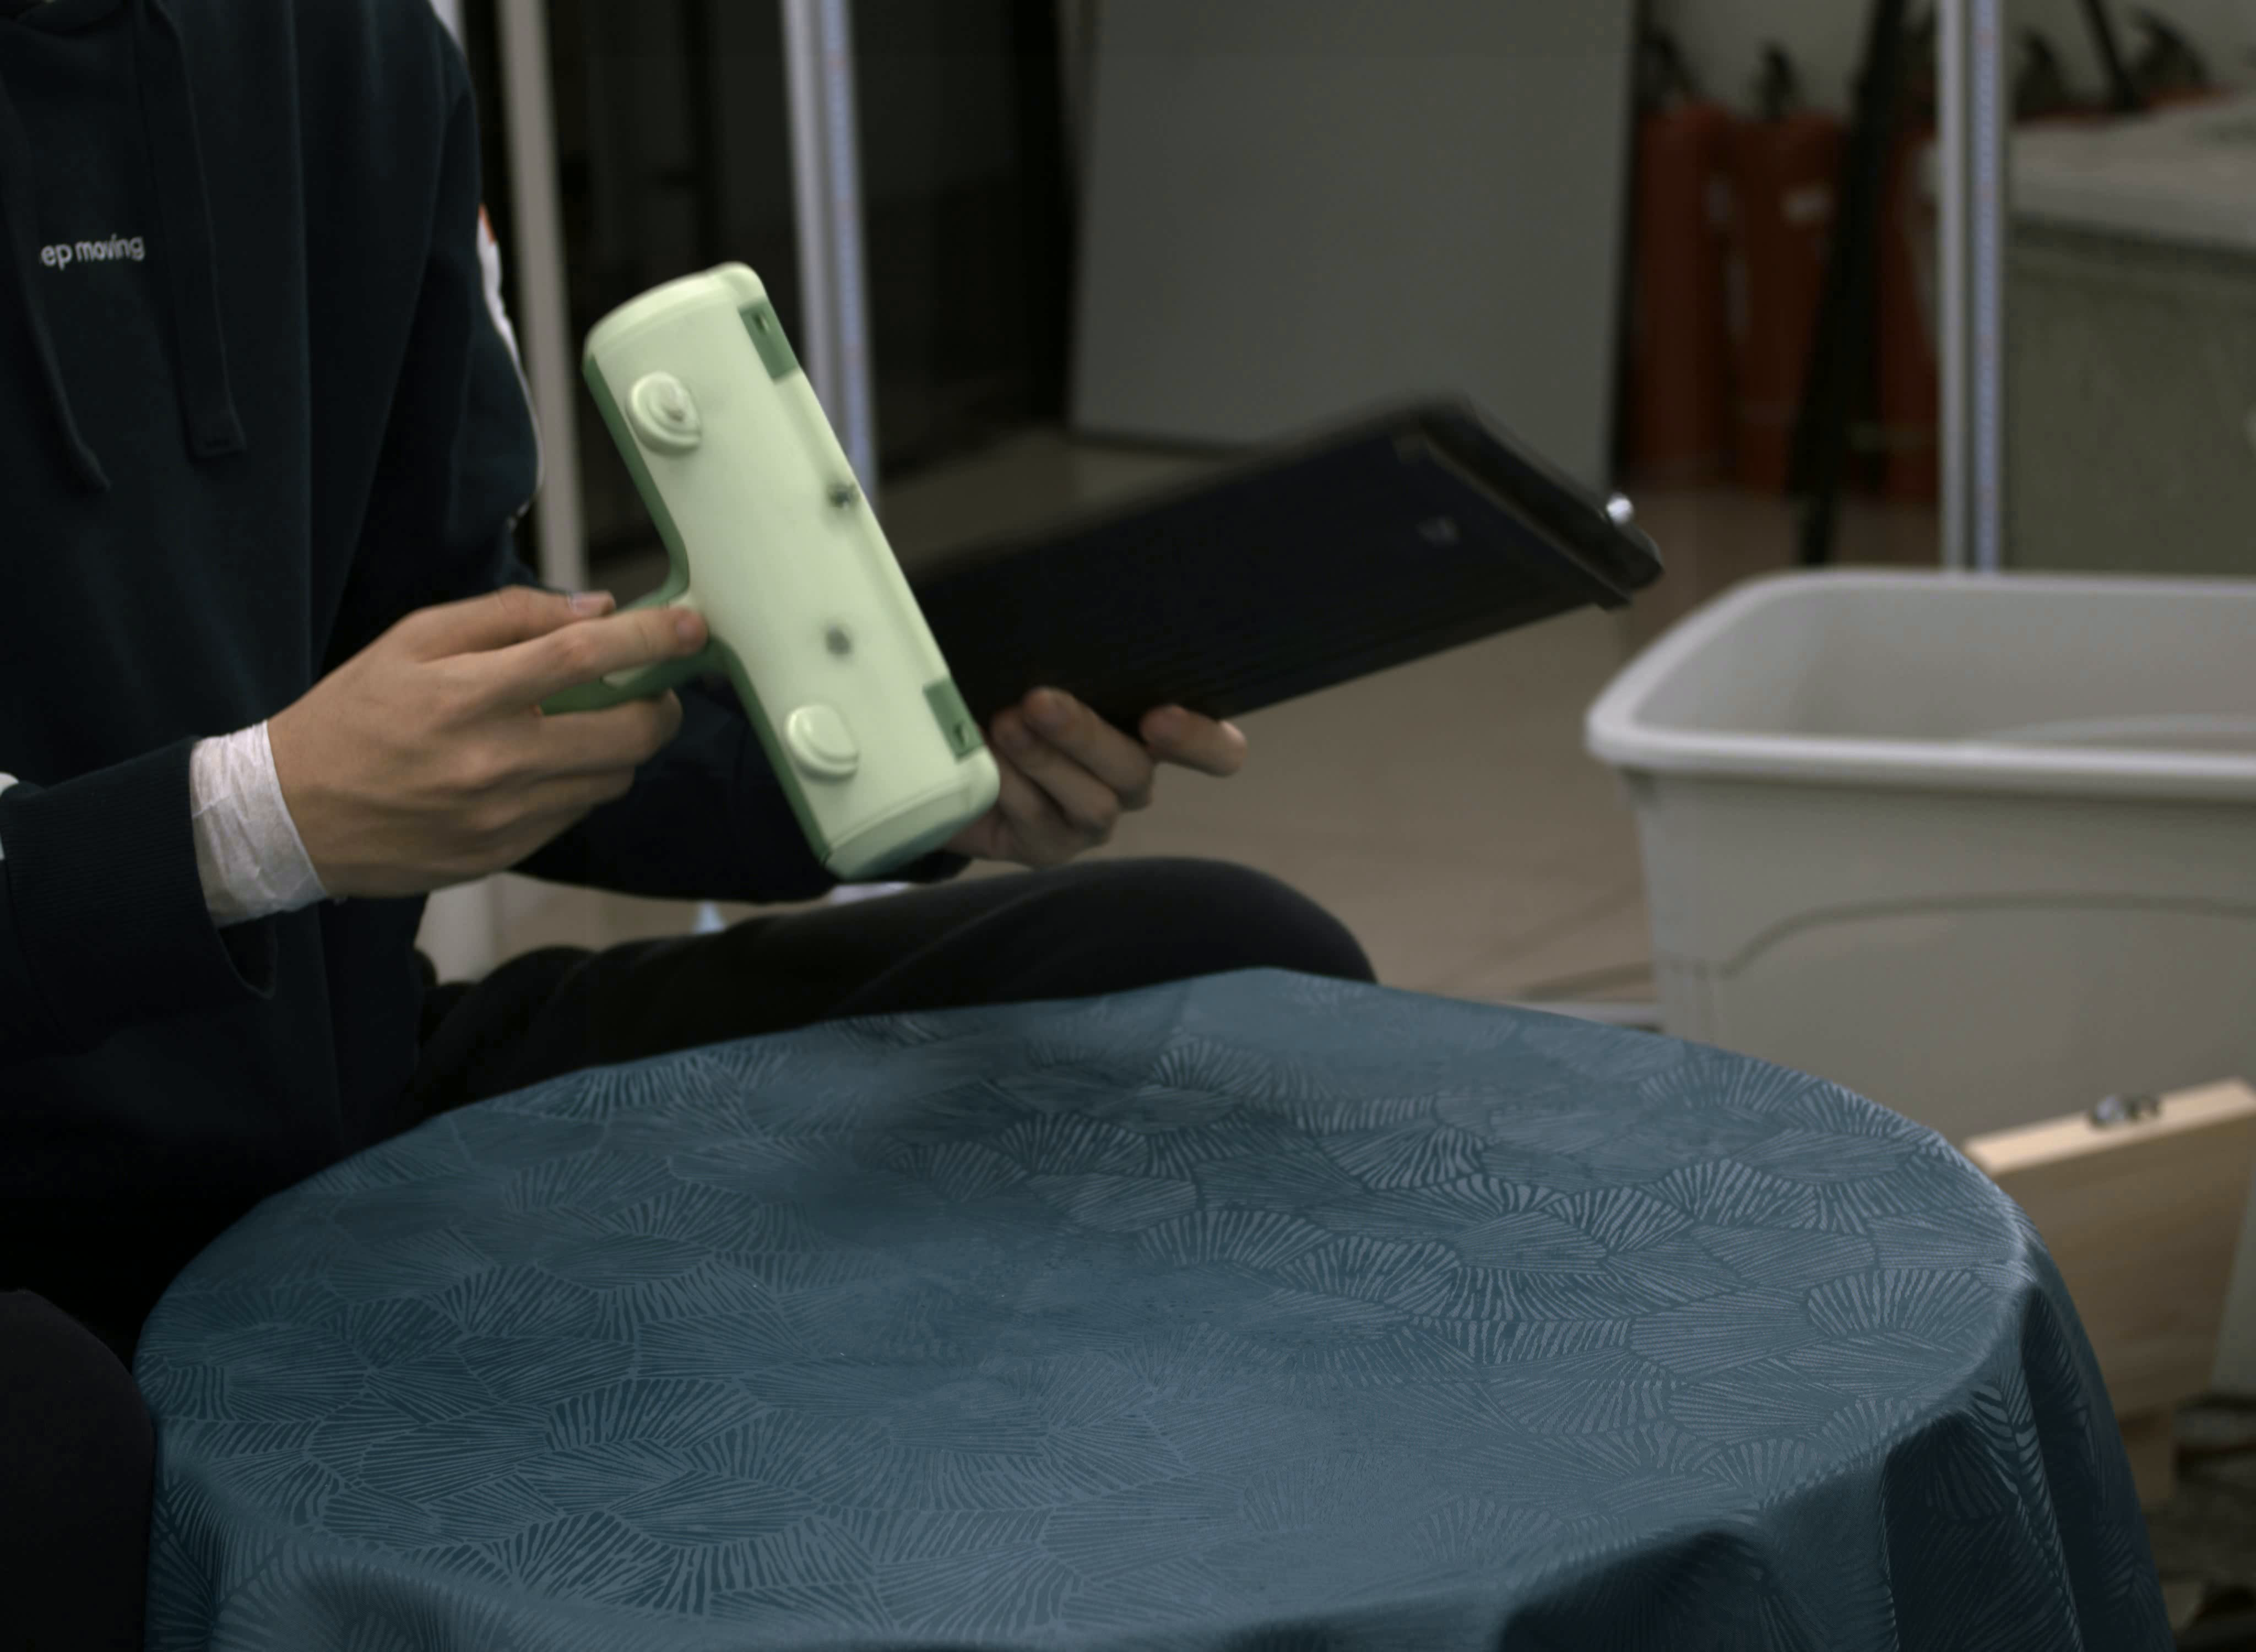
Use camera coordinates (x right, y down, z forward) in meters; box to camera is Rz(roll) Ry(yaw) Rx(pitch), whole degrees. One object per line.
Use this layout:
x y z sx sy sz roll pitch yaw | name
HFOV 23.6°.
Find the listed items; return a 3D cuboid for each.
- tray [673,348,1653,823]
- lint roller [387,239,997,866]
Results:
0.010 -0.073 1.810 0.307 0.019 0.167 -19 -30 27 | tray
-0.161 -0.060 1.719 0.182 0.200 0.082 -27 -6 4 | lint roller
